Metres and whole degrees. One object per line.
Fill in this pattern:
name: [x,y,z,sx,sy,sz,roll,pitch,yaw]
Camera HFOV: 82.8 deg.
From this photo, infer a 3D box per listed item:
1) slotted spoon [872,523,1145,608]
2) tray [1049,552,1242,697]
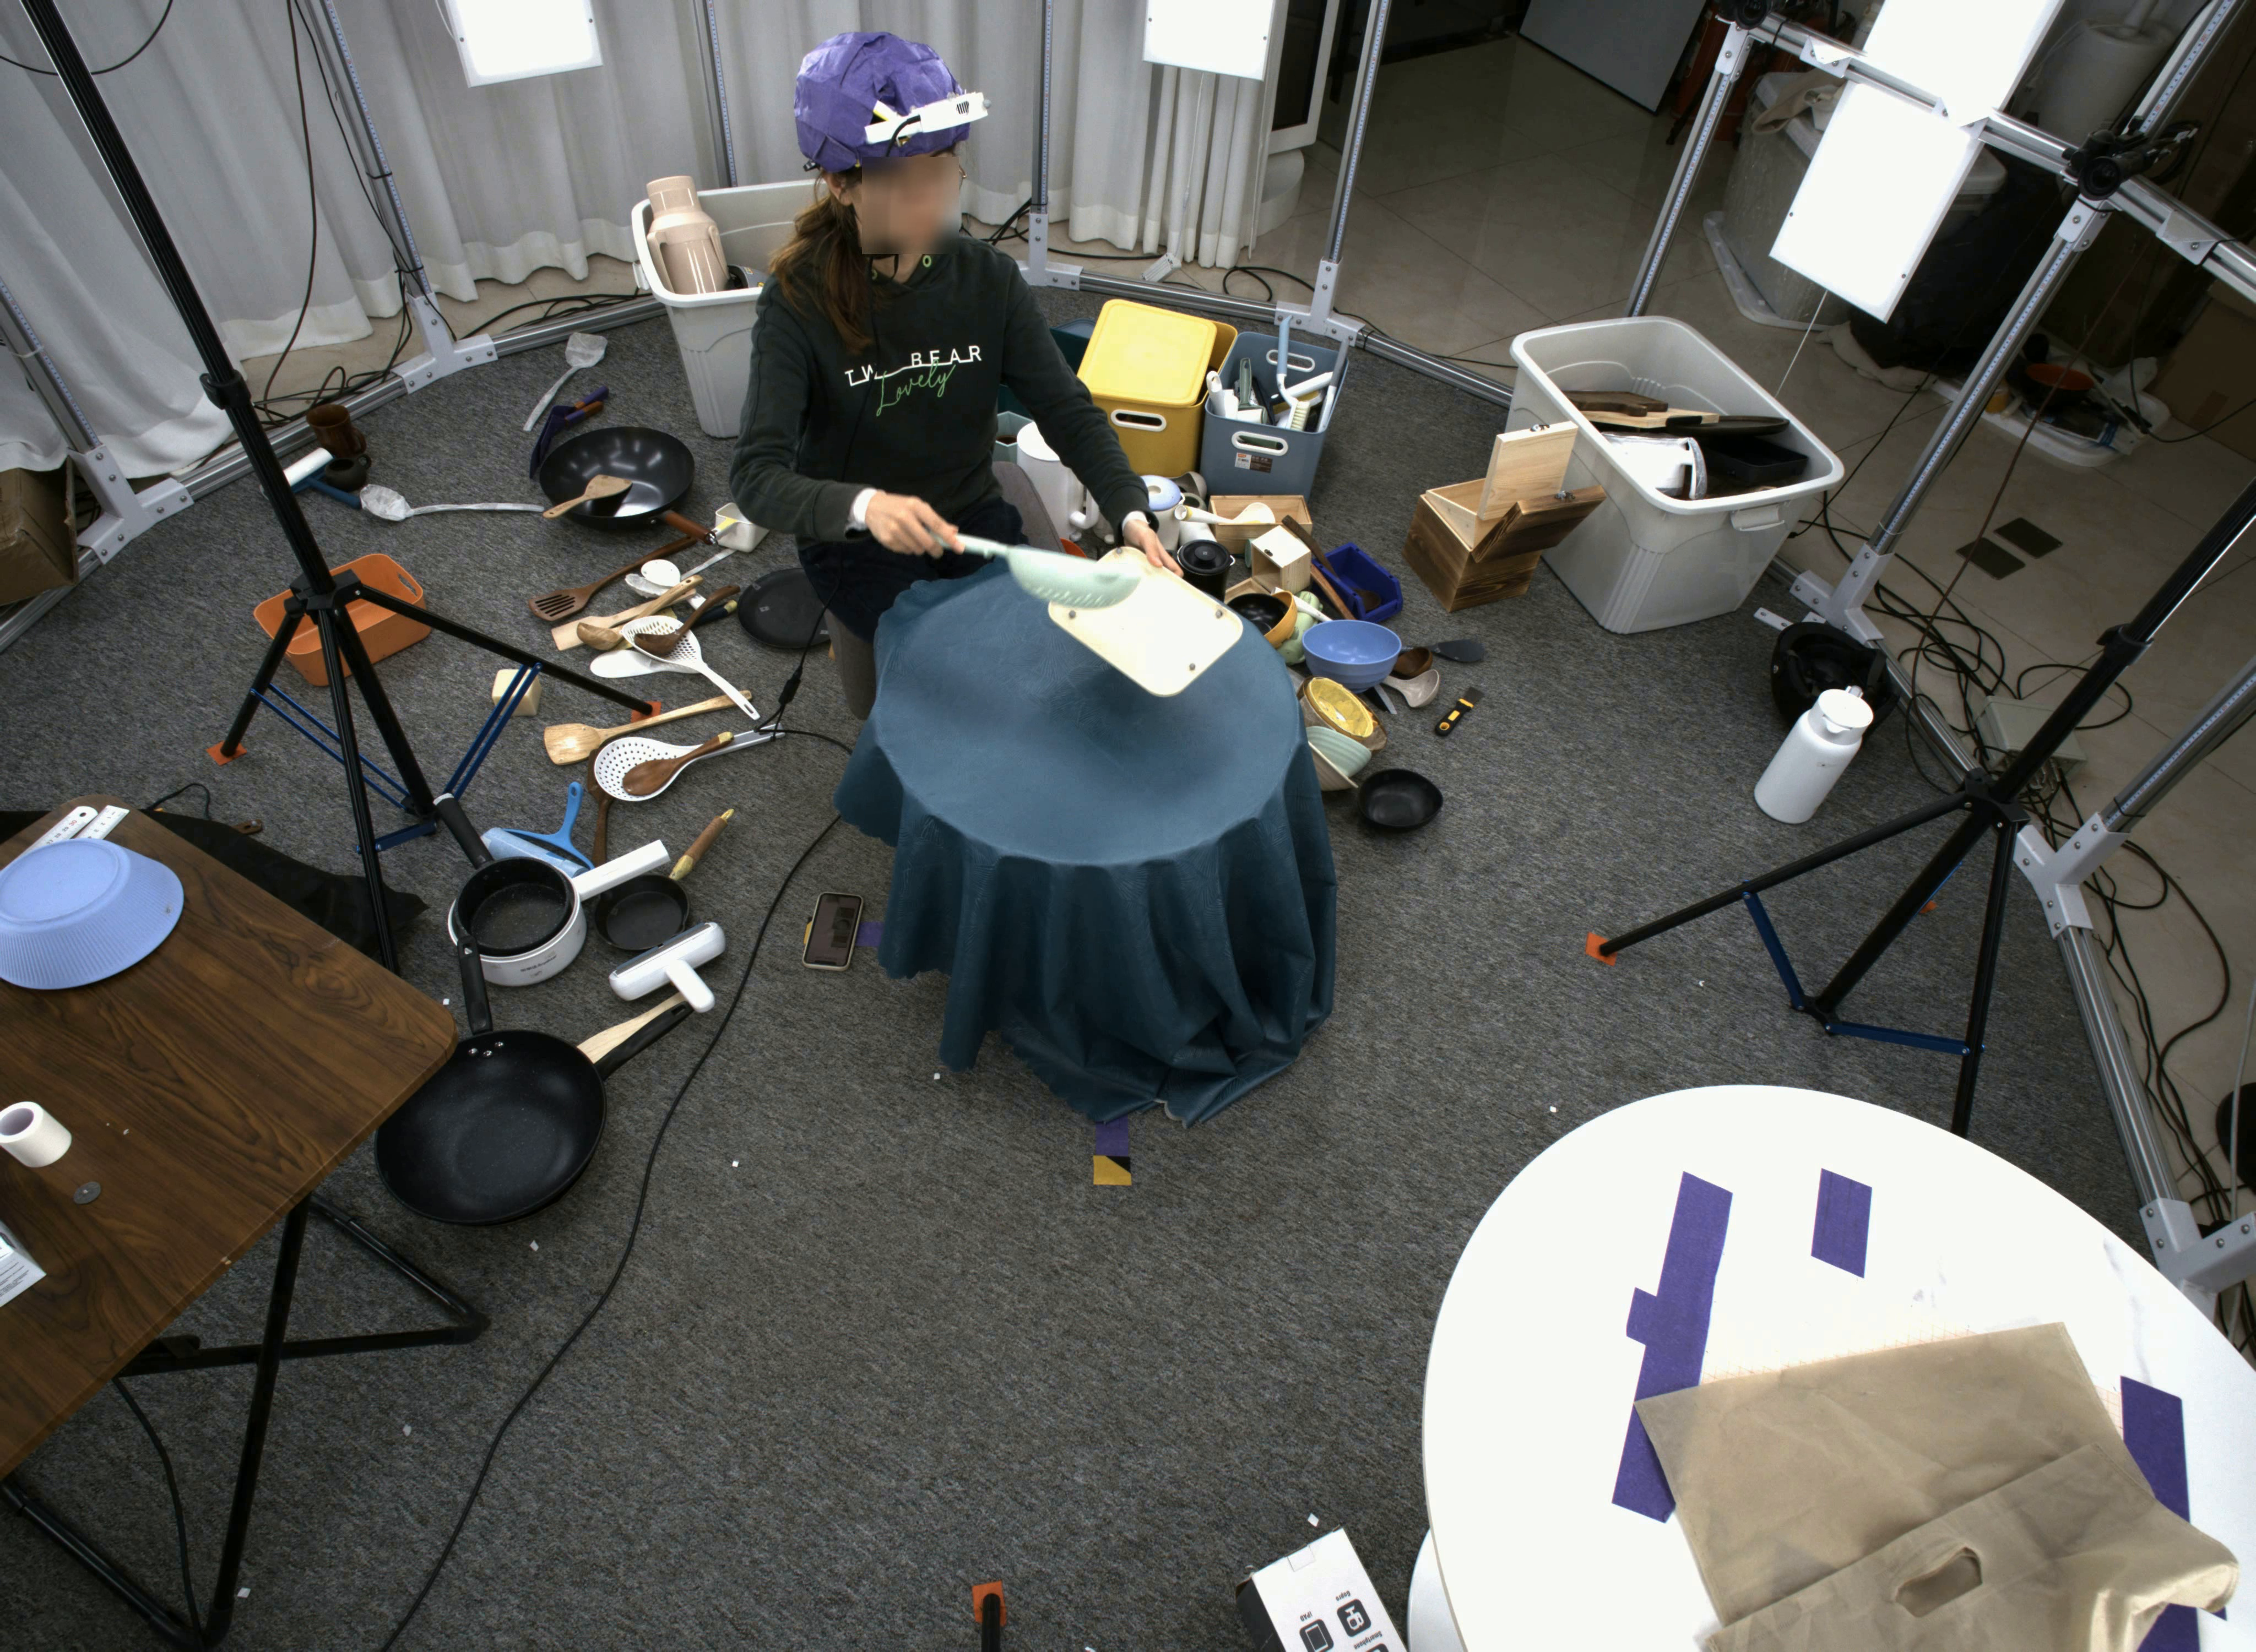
slotted spoon: [-0.157,-0.343,1.634,0.361,0.075,0.170,21,13,12]
tray: [0.023,-0.276,1.754,0.243,0.017,0.173,37,67,26]
